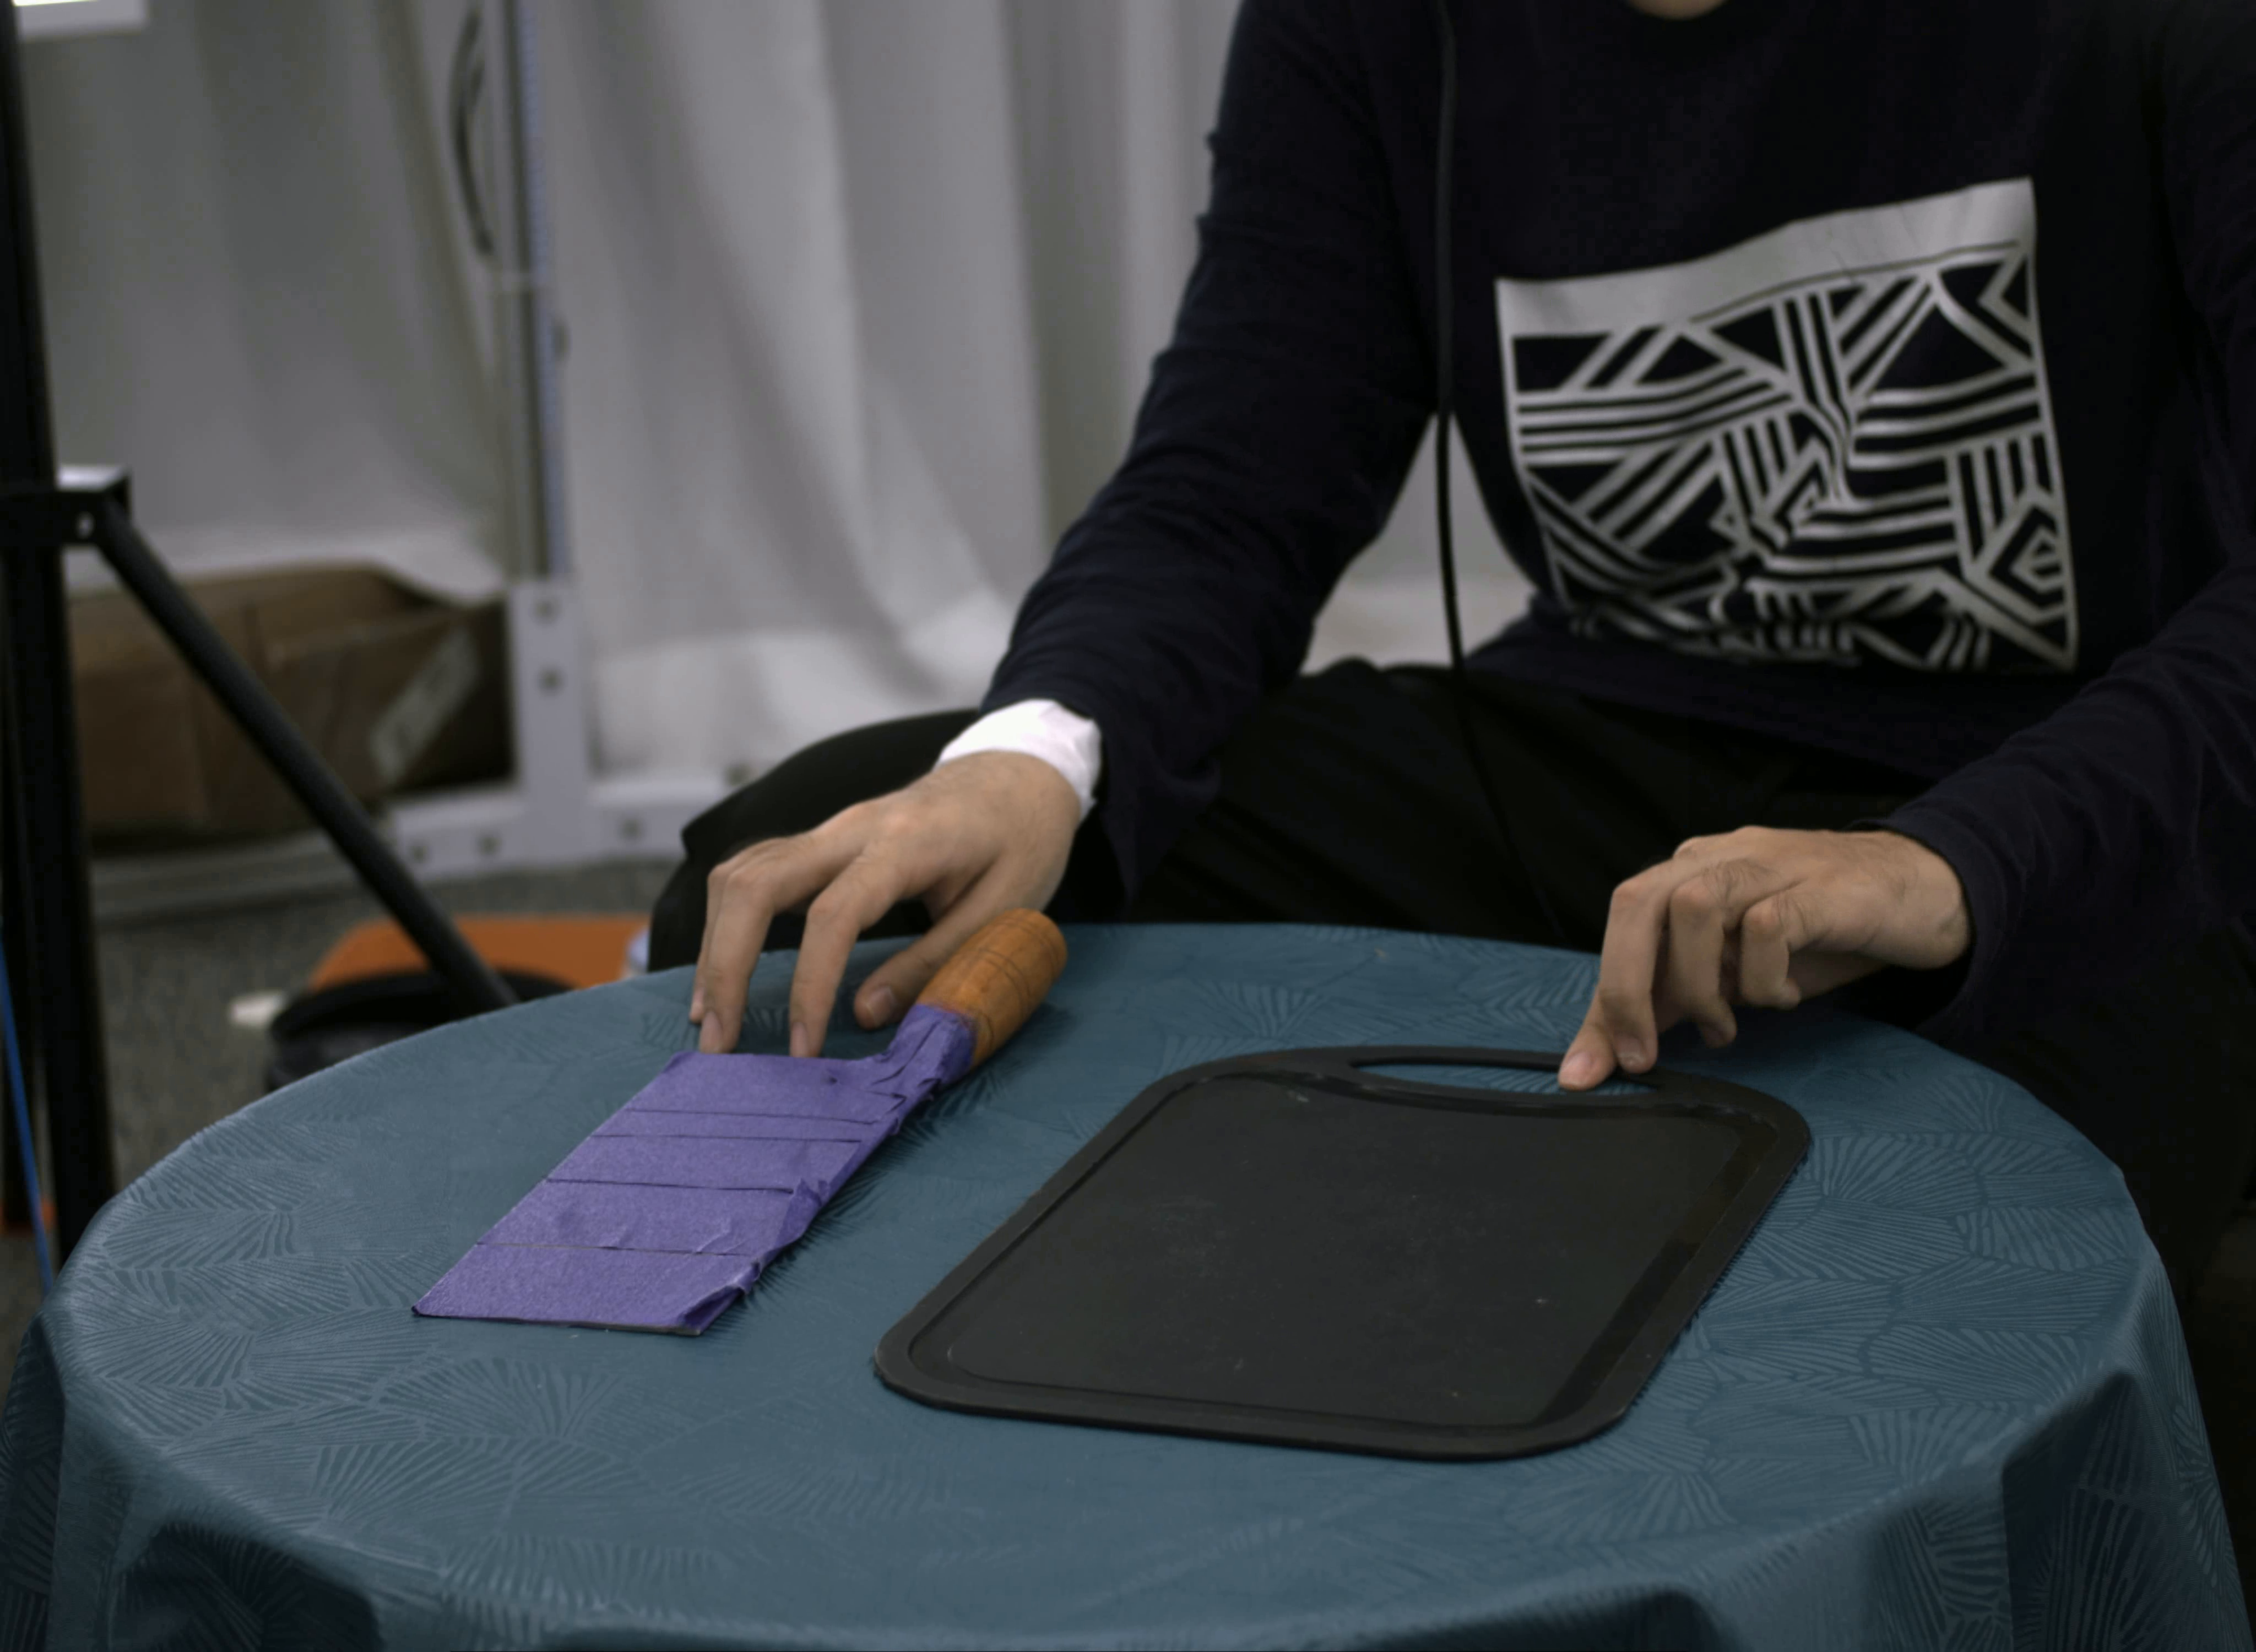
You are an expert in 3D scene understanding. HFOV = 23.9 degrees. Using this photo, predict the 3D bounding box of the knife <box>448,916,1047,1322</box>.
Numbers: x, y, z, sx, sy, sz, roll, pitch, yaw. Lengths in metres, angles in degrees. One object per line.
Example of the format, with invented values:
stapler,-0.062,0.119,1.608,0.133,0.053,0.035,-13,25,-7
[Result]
knife,-0.112,0.085,1.611,0.105,0.032,0.312,3,17,17

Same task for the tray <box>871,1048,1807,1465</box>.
tray,0.069,0.114,1.518,0.213,0.010,0.321,4,17,20
